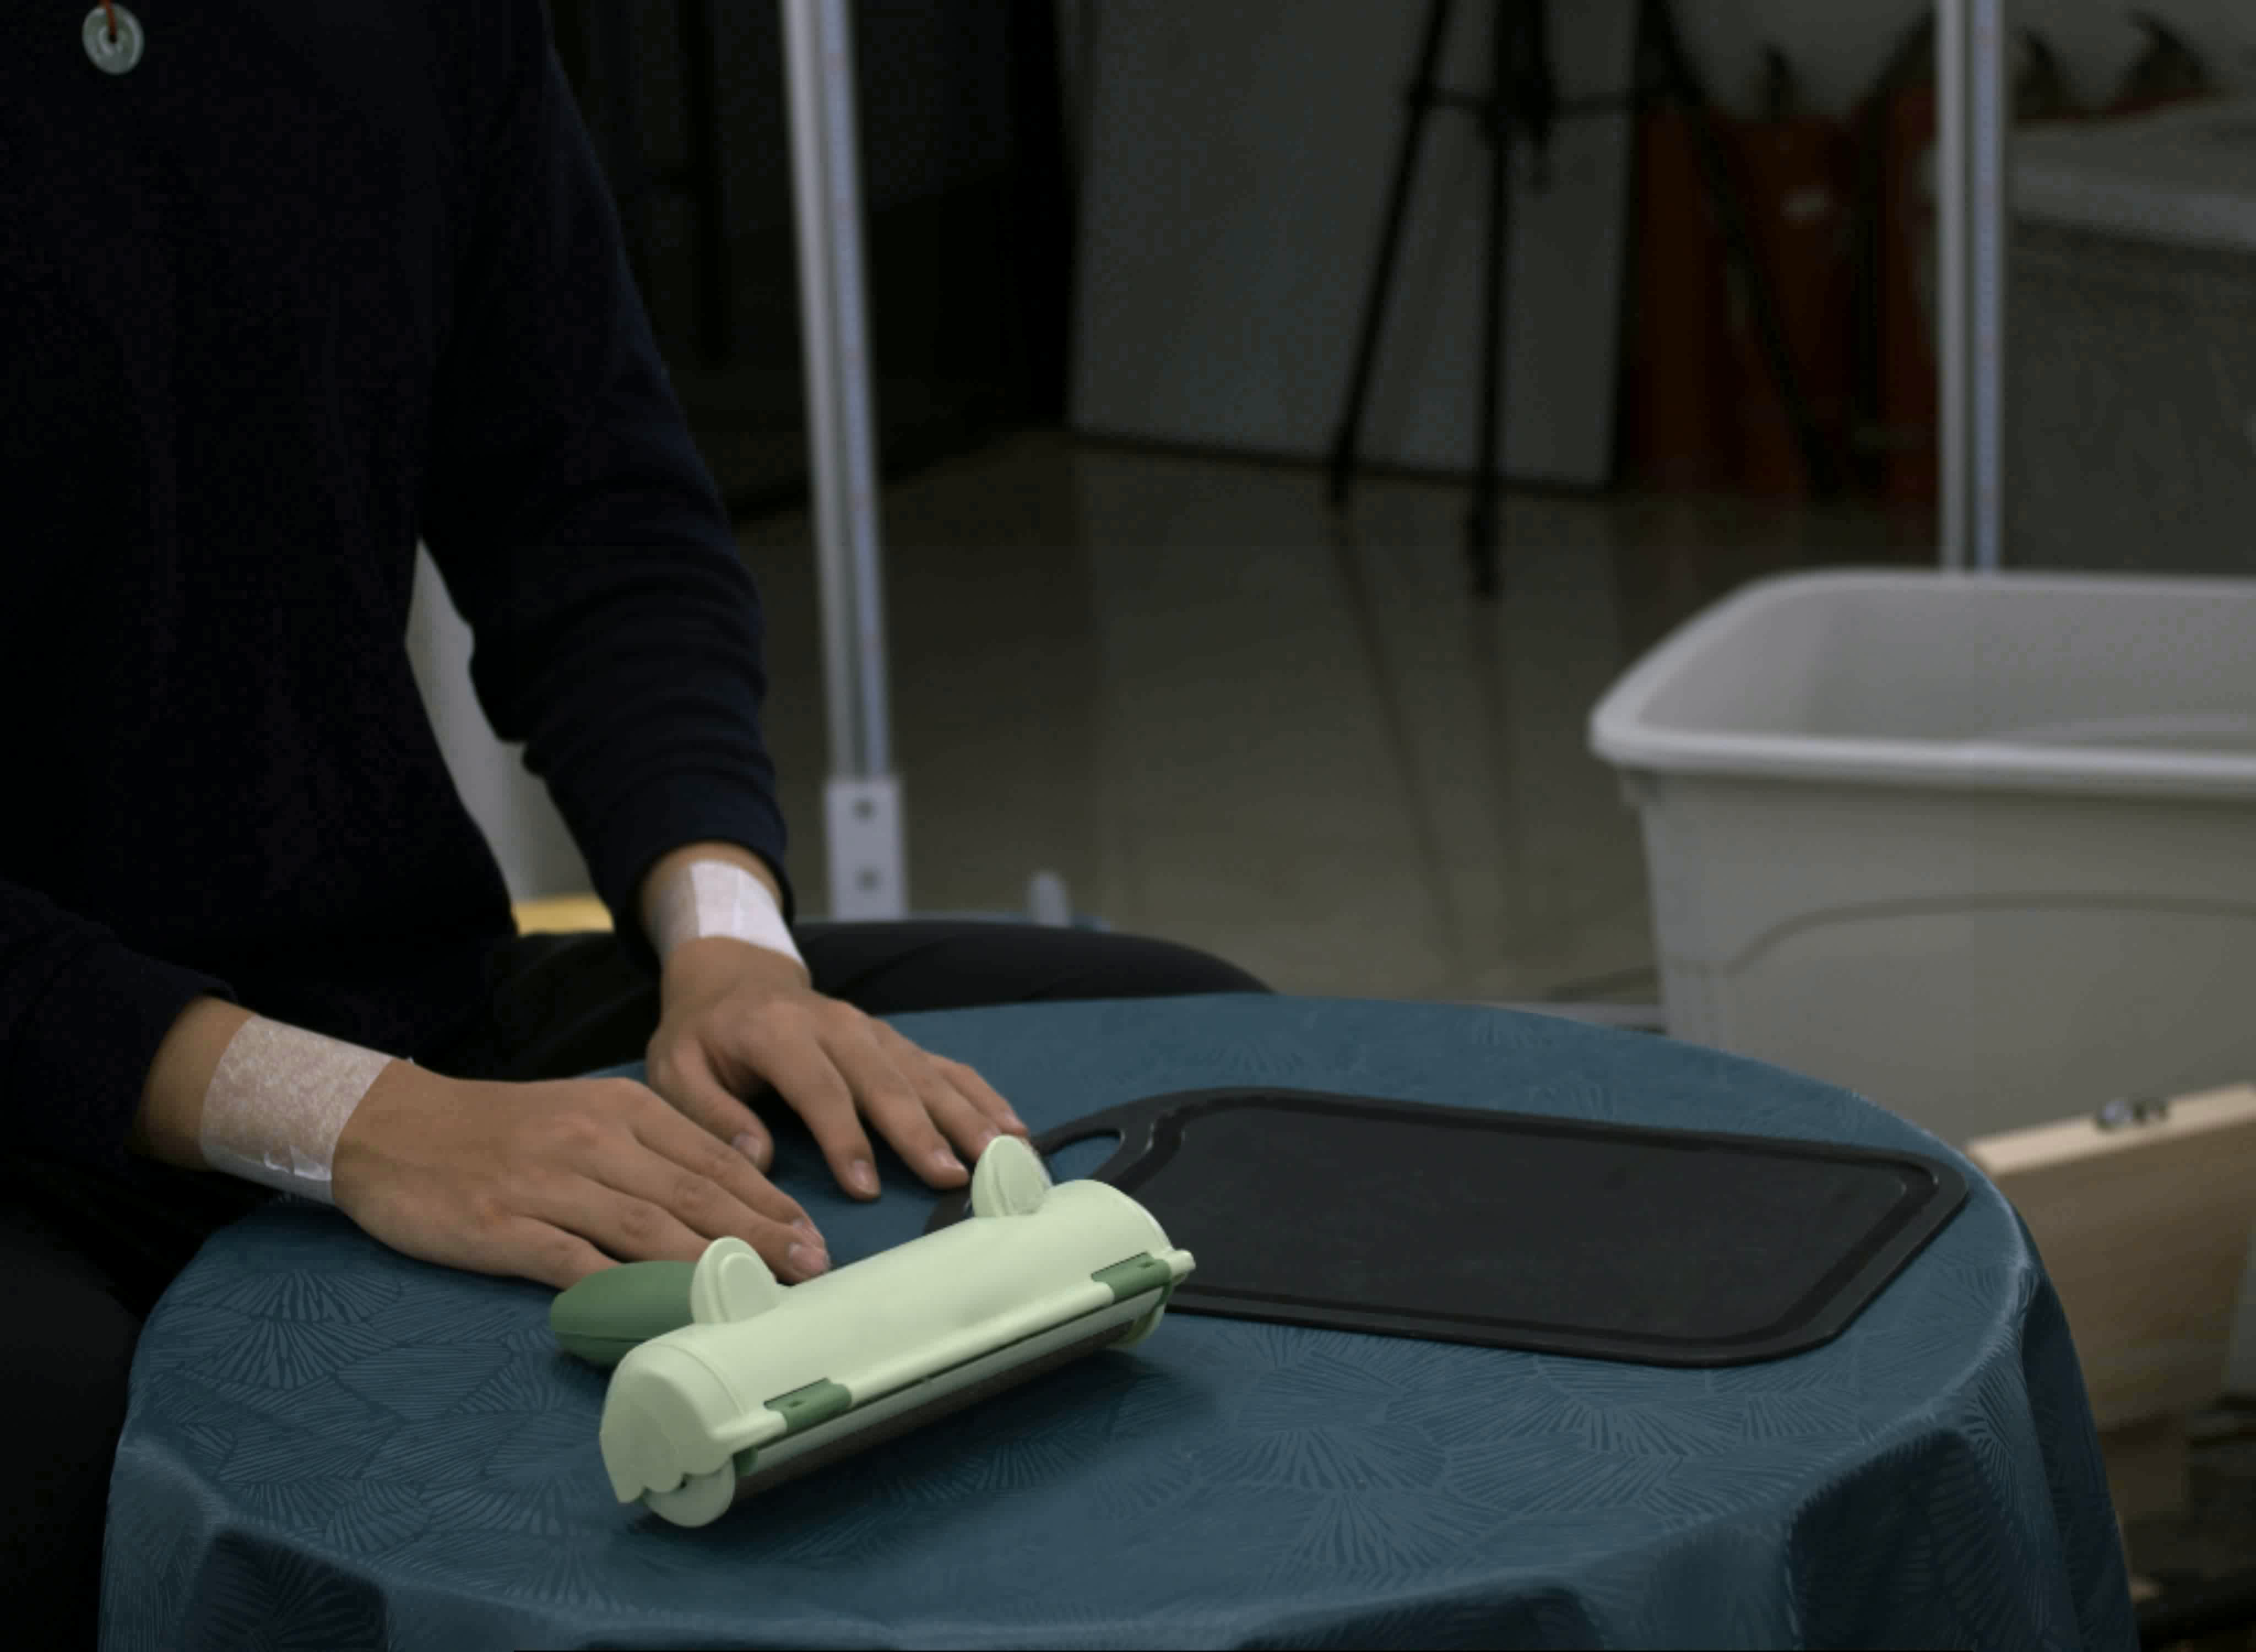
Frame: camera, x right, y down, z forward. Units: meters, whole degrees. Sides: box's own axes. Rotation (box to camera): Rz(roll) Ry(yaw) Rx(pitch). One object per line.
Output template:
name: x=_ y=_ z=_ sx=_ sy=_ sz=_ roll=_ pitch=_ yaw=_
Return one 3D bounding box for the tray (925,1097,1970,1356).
tray: x=0.094 y=0.124 z=1.719 sx=0.326 sy=0.010 sz=0.208 roll=3 pitch=16 yaw=28

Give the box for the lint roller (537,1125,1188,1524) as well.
lint roller: x=-0.109 y=0.130 z=1.587 sx=0.185 sy=0.083 sz=0.194 roll=16 pitch=22 yaw=39
